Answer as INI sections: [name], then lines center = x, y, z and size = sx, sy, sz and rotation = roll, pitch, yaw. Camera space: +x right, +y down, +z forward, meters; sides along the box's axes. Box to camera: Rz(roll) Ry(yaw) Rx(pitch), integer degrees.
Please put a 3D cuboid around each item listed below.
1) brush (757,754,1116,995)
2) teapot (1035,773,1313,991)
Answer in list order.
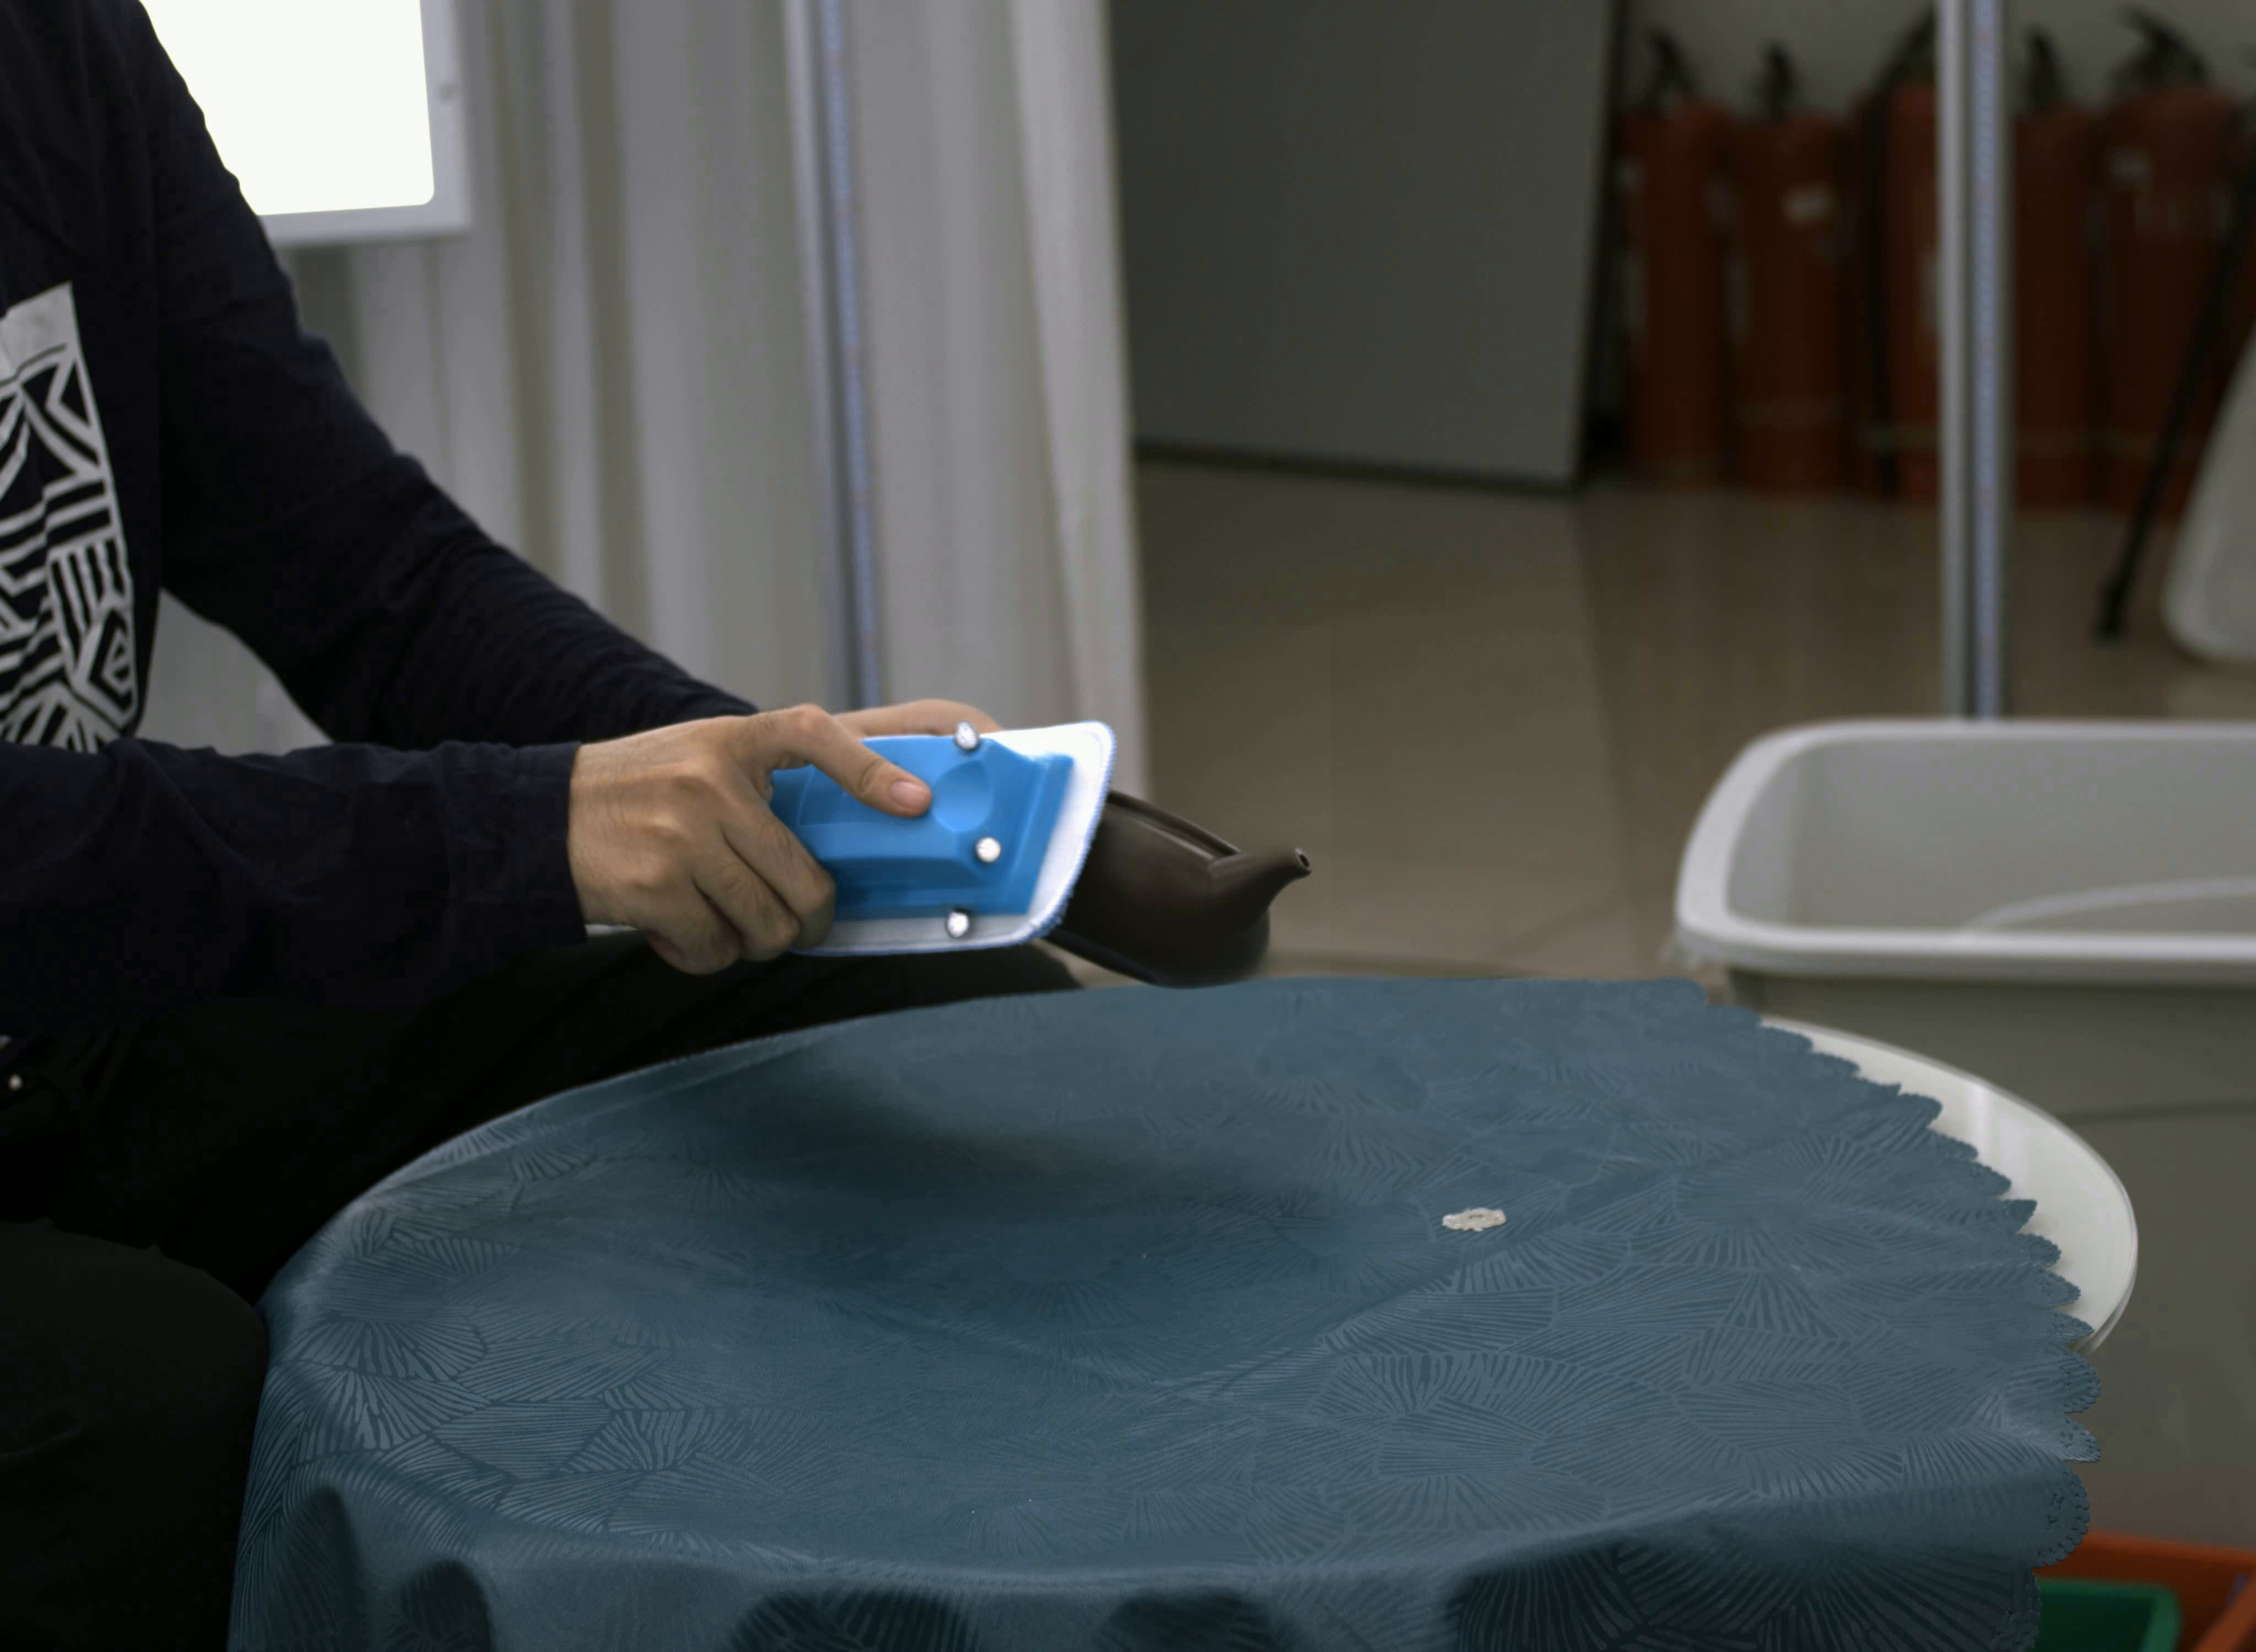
[brush]
center = -0.071, 0.011, 1.758
size = 0.145, 0.084, 0.055
rotation = -1, -34, 49
[teapot]
center = -0.005, 0.016, 1.779
size = 0.155, 0.054, 0.101
rotation = 18, -11, 39
